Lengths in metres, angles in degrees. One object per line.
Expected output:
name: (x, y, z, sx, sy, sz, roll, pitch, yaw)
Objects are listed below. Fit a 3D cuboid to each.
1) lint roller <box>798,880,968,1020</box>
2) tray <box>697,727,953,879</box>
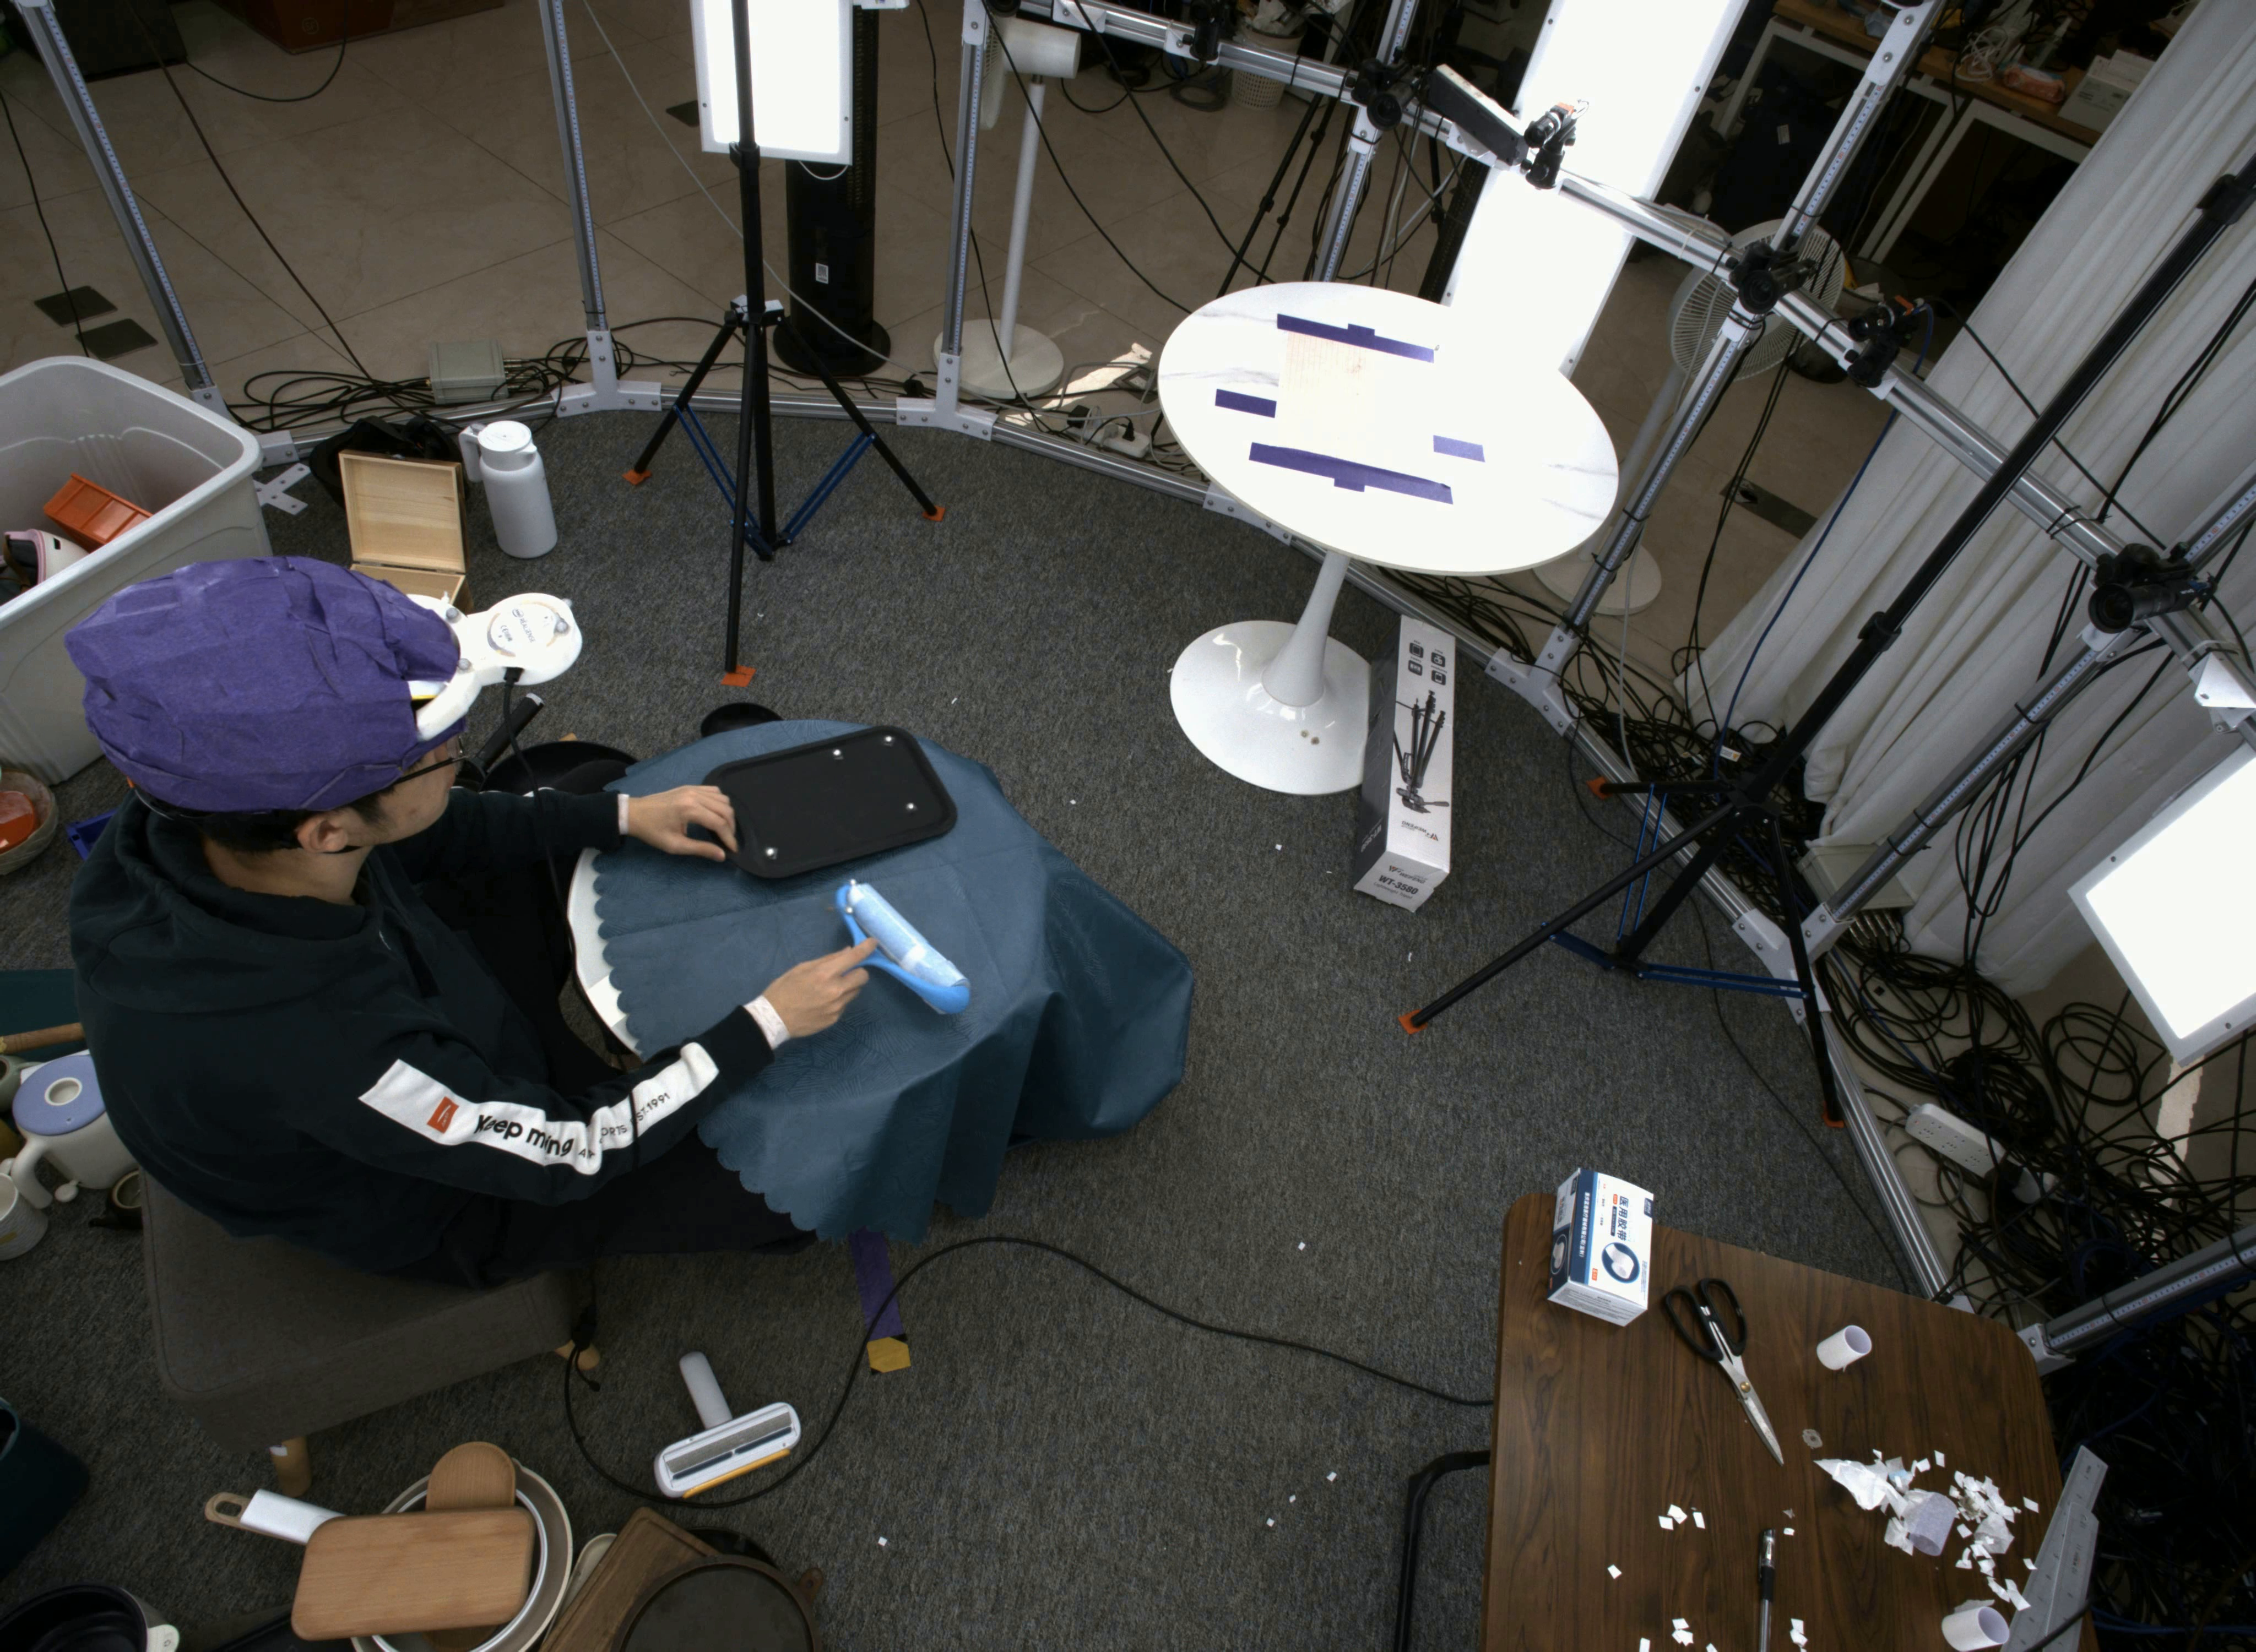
lint roller: (-0.317, 0.167, 1.556, 0.224, 0.069, 0.181, 40, 46, 17)
tray: (-0.408, -0.036, 1.736, 0.328, 0.010, 0.206, -16, 59, -31)
